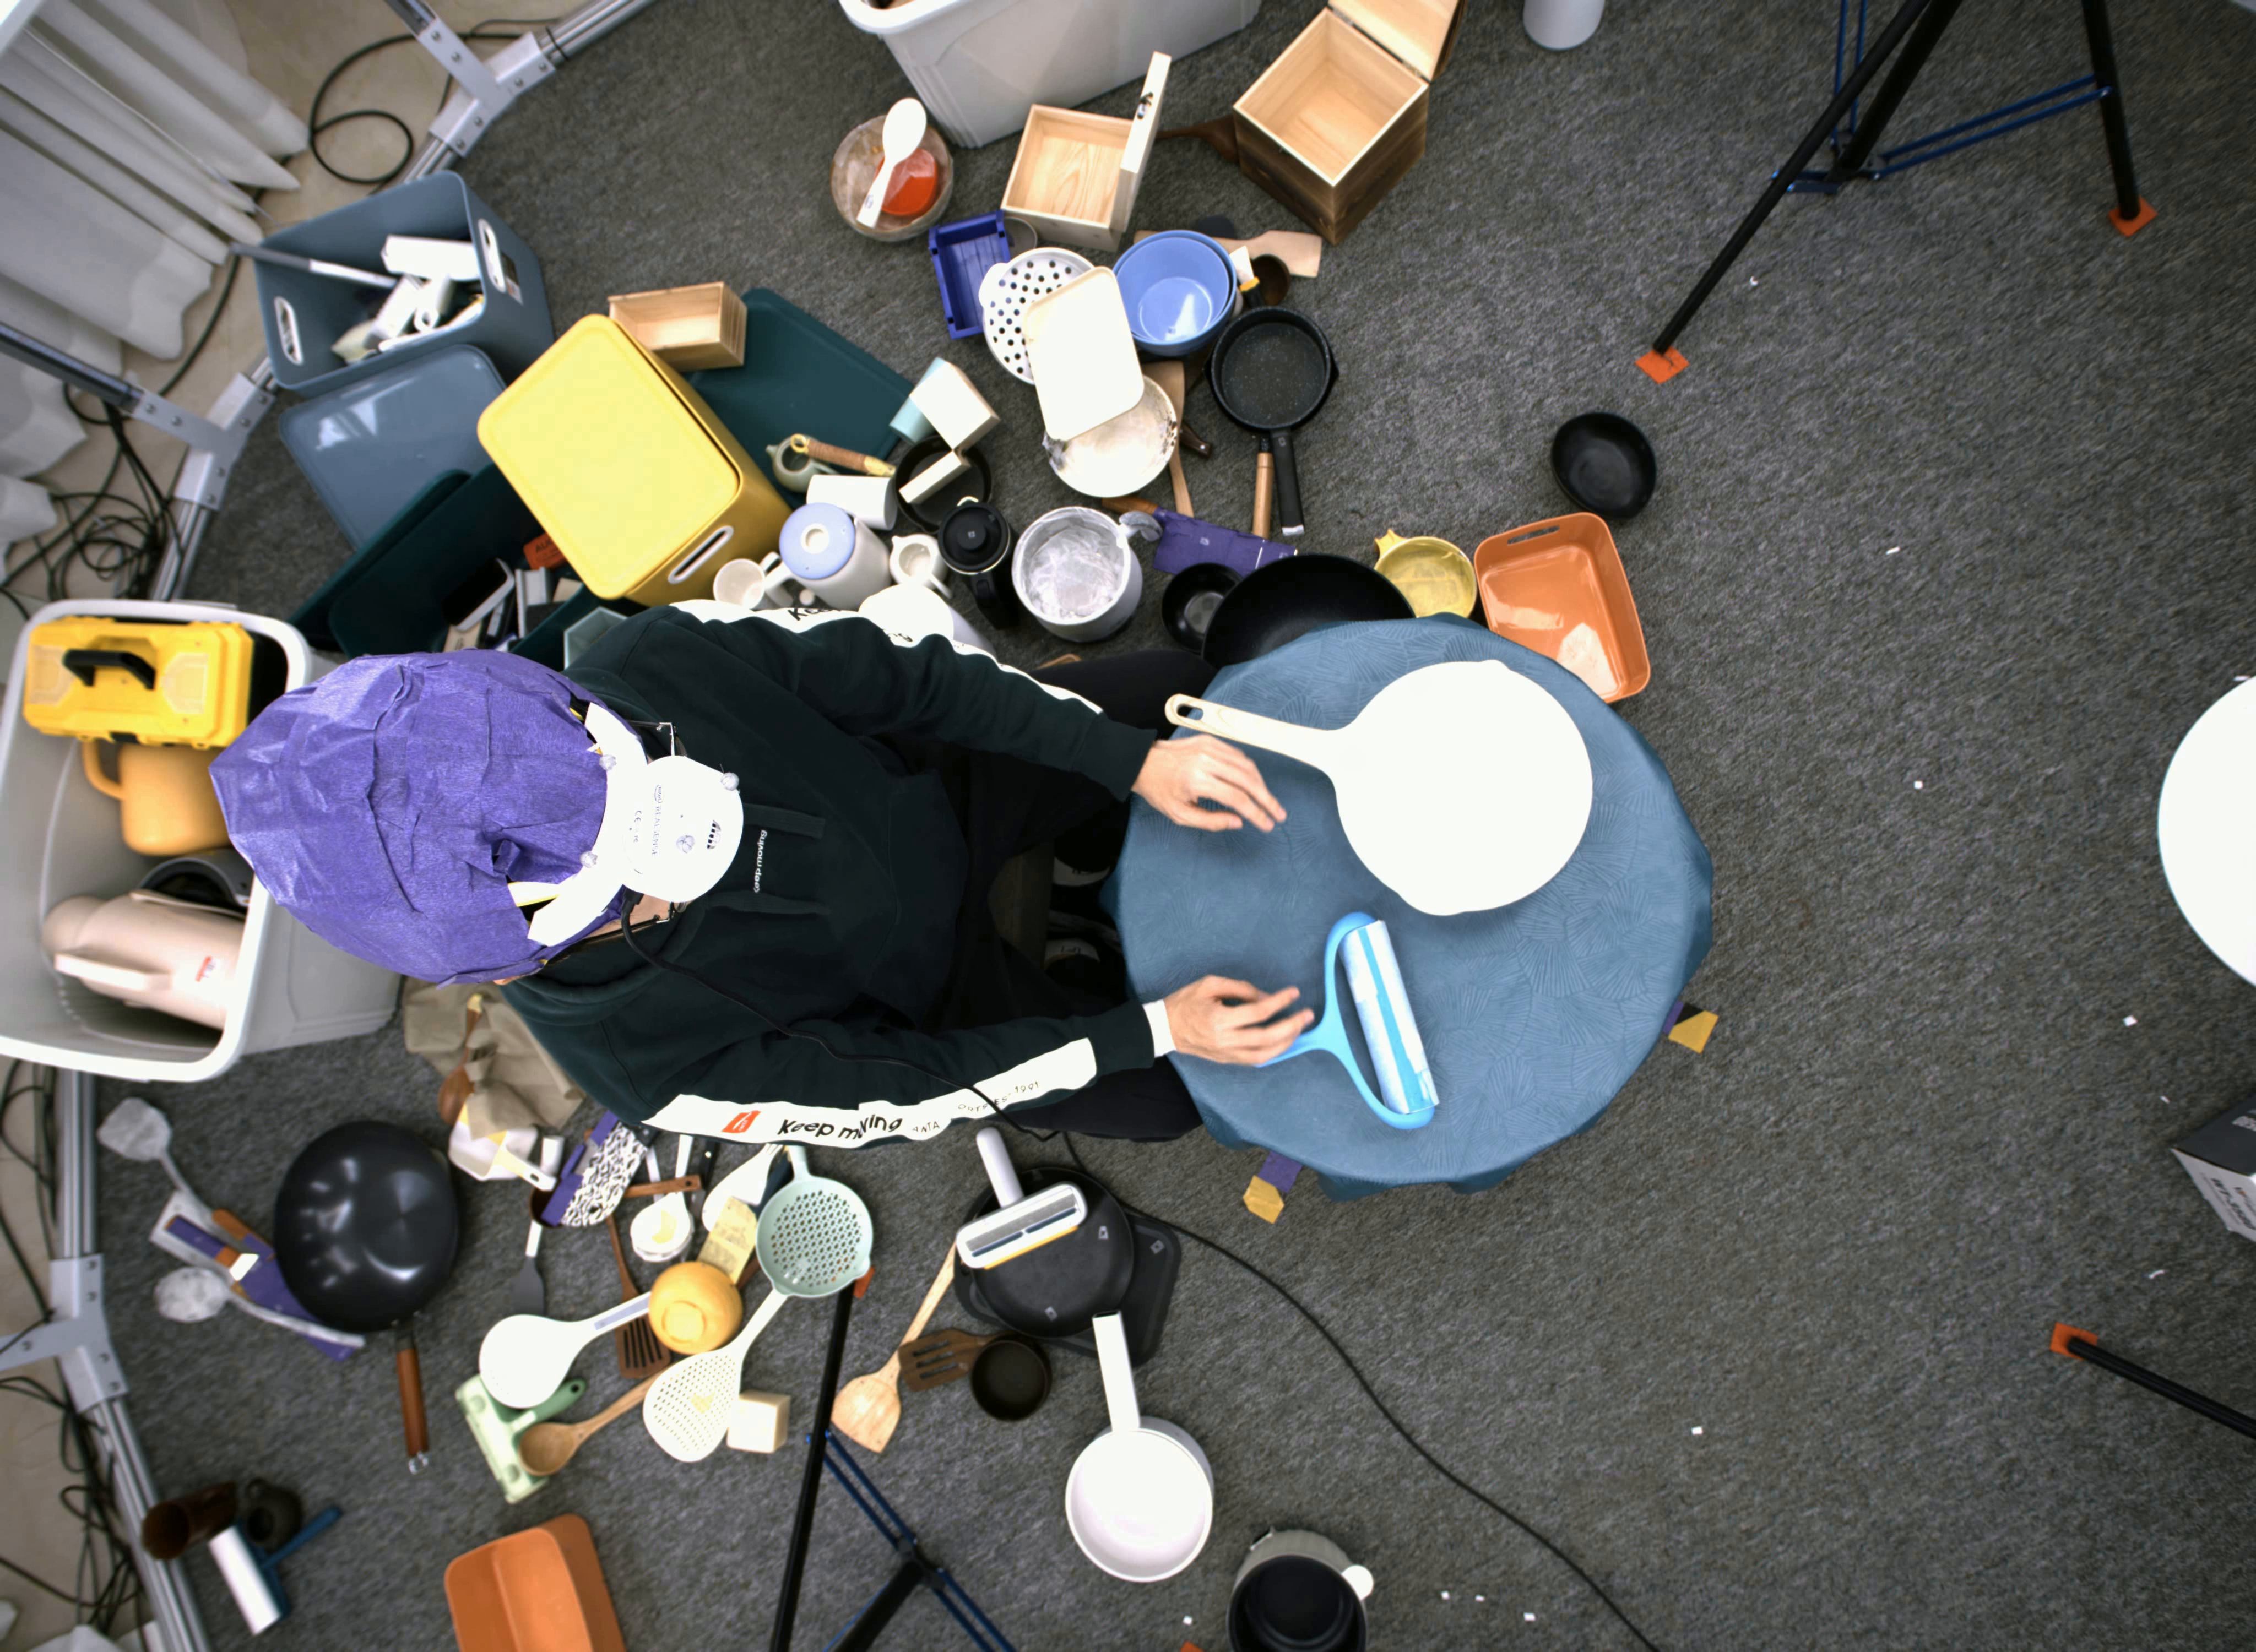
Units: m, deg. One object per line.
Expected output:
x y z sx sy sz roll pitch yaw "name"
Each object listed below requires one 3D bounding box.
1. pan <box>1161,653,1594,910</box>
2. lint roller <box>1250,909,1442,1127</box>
0.252 -0.066 1.414 0.435 0.102 0.263 14 91 11 "pan"
0.212 0.215 1.430 0.181 0.068 0.228 -20 85 8 "lint roller"
